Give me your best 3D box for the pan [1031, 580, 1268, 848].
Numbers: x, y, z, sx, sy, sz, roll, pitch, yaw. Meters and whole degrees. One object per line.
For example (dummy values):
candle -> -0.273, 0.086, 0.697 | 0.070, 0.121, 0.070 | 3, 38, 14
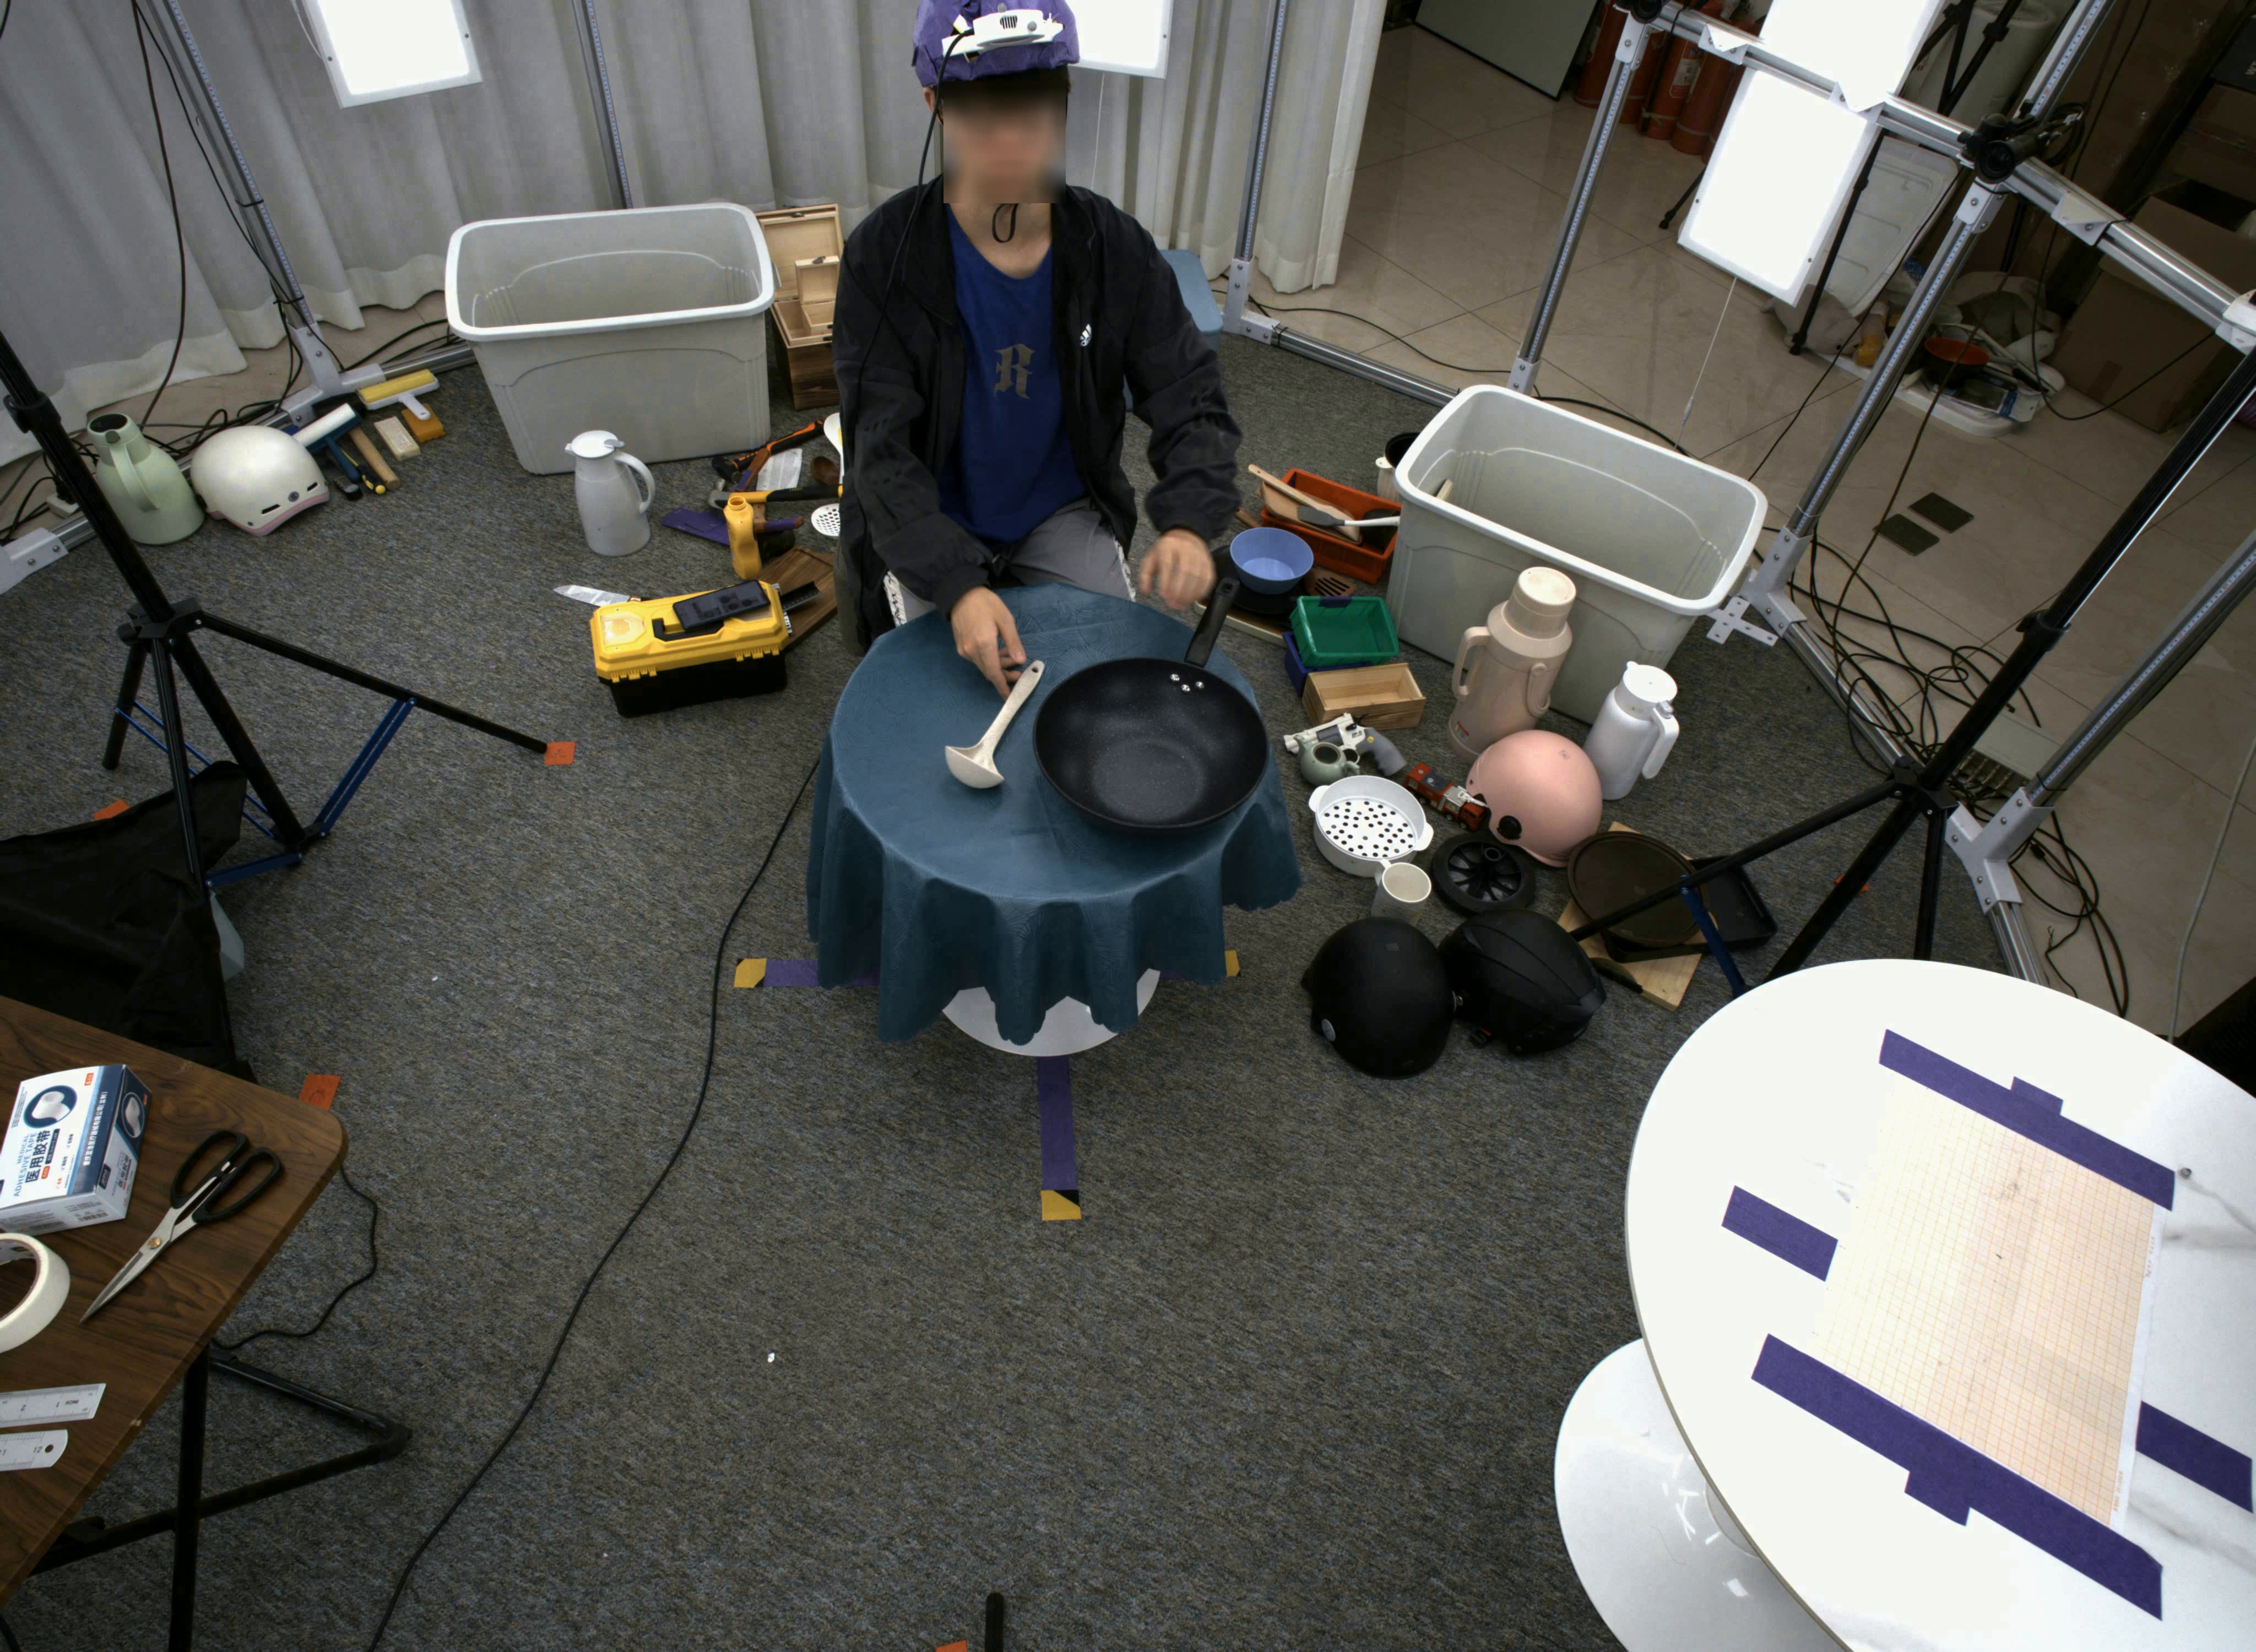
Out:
pan -> 0.058, -0.149, 1.738 | 0.311, 0.109, 0.486 | 19, 52, 11

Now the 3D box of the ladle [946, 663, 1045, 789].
ladle -> -0.162, -0.157, 1.757 | 0.089, 0.068, 0.280 | 27, 50, -1
